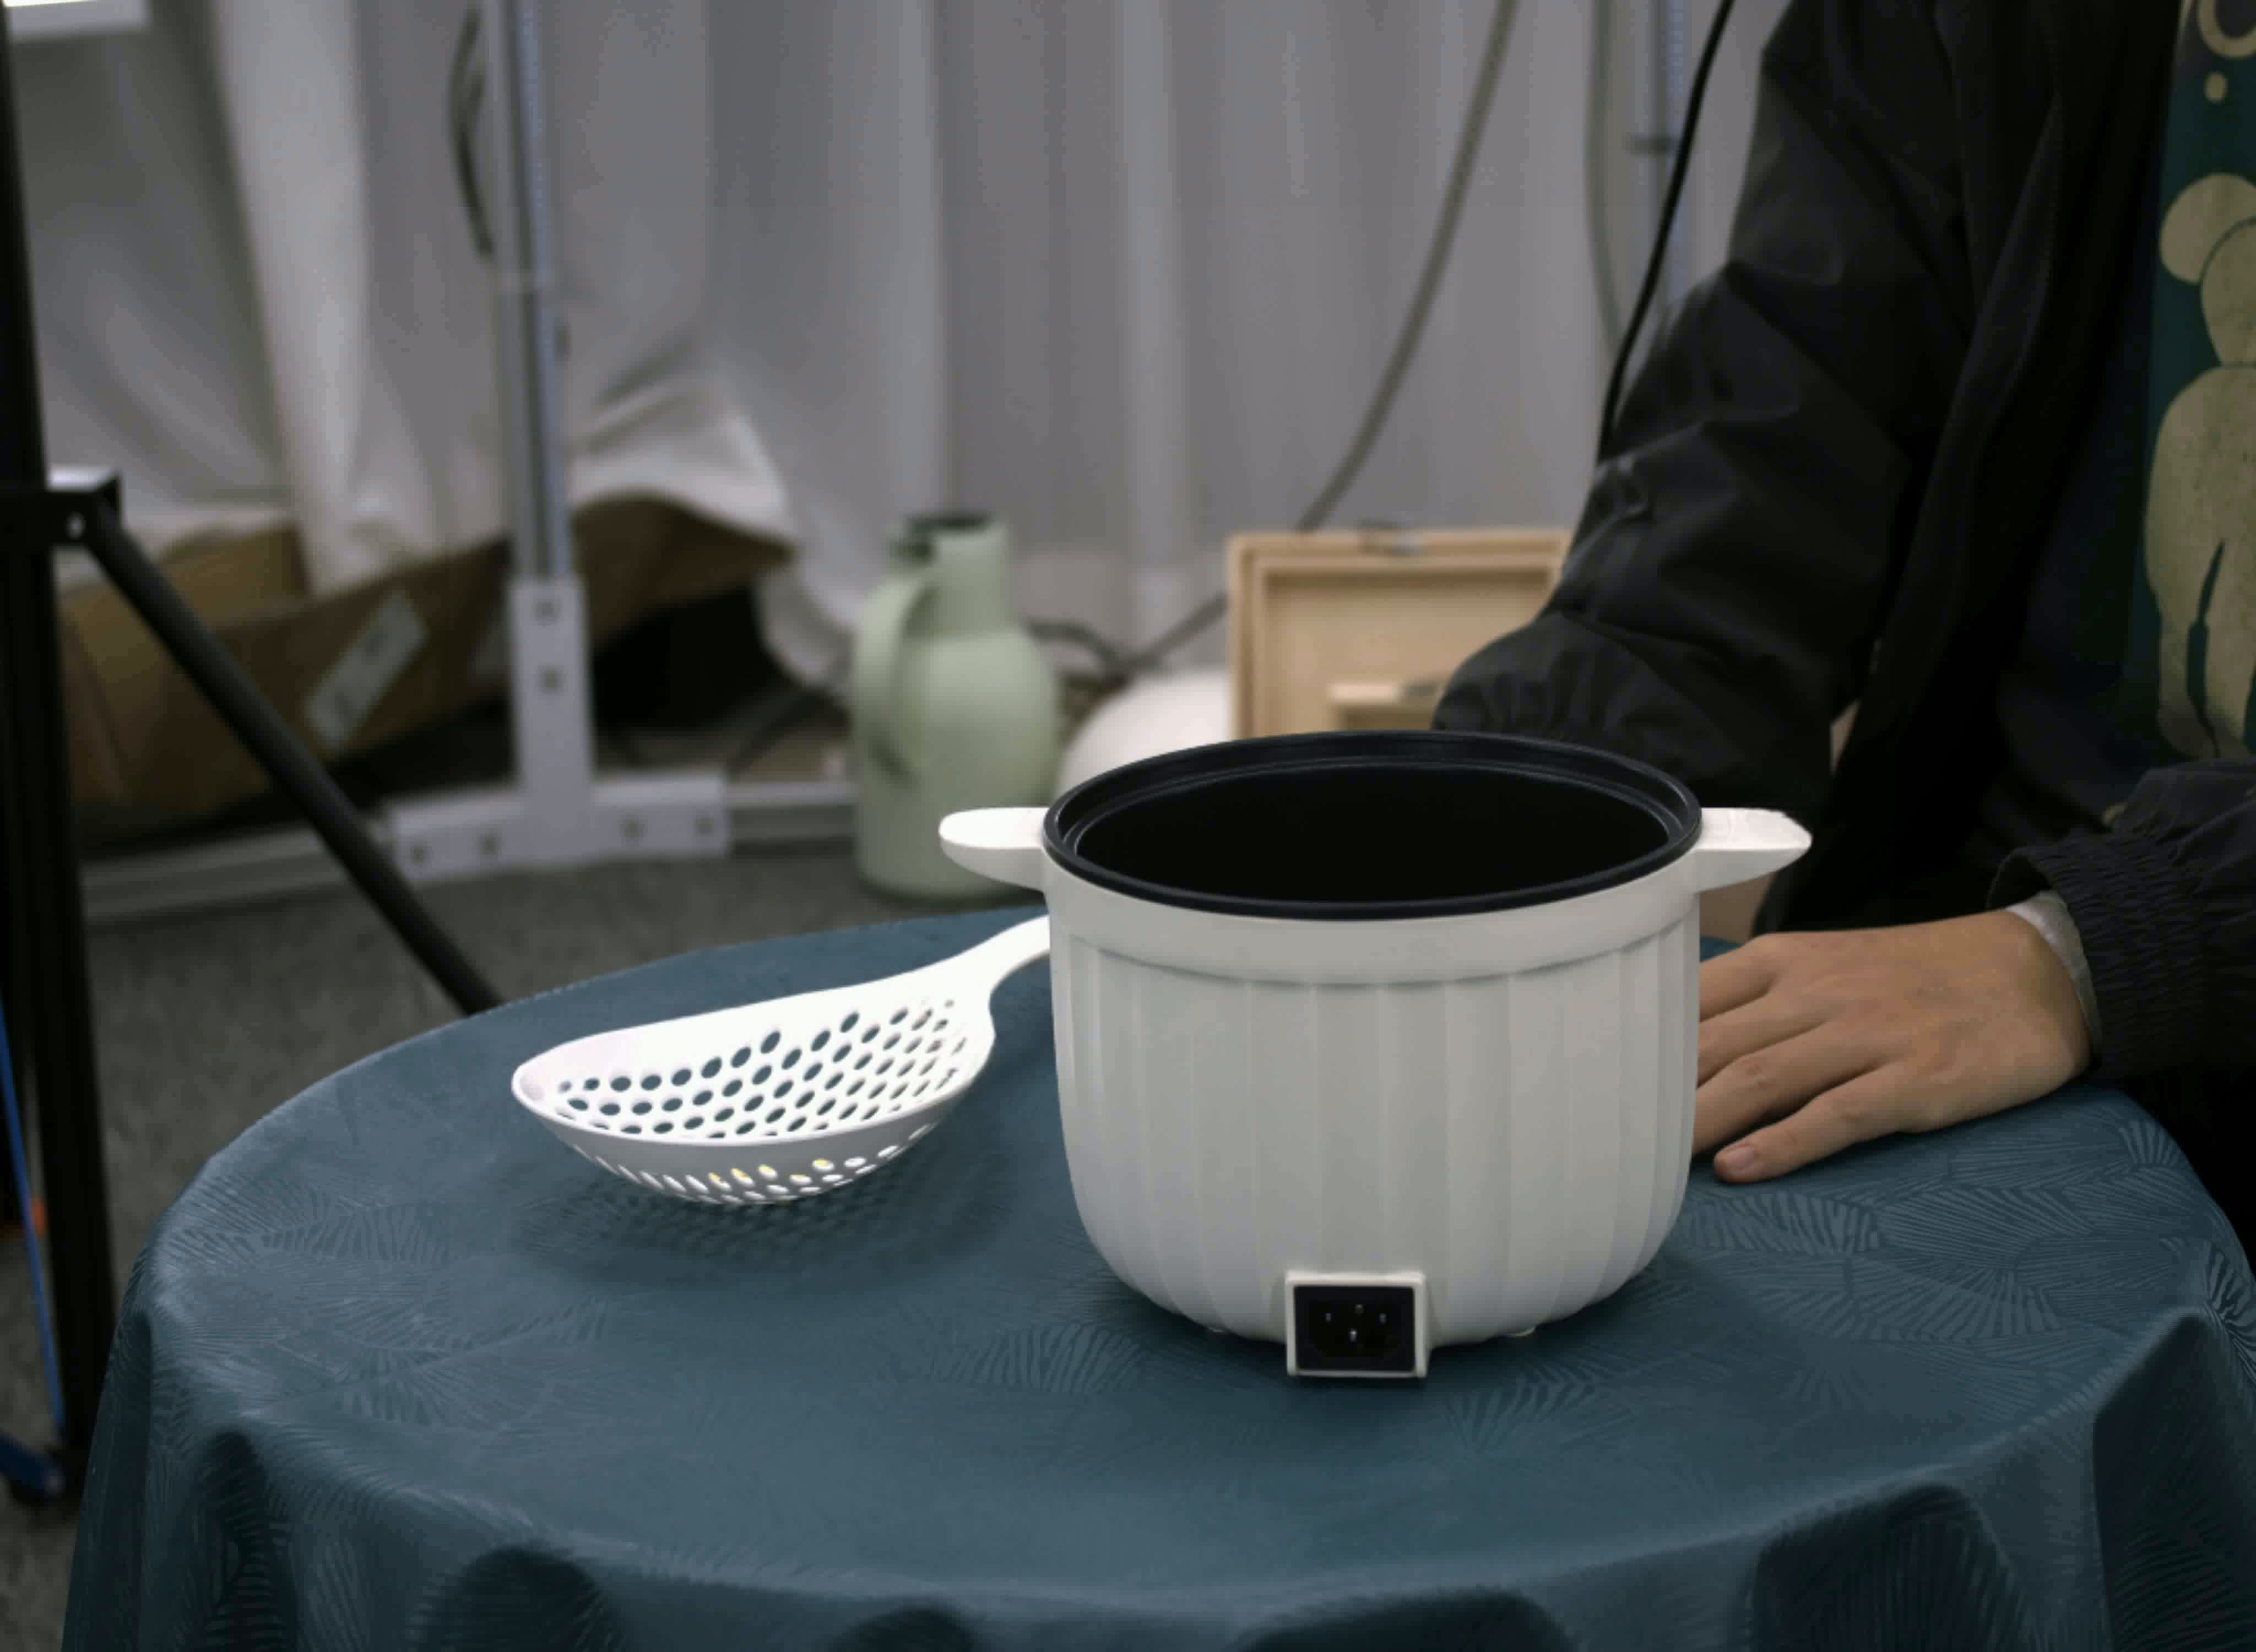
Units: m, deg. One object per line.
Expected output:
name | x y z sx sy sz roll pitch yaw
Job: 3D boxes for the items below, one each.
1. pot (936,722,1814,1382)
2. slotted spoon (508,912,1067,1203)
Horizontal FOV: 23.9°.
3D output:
pot | 0.067 0.059 1.471 0.241 0.142 0.190 1 19 8
slotted spoon | -0.061 0.059 1.662 0.139 0.050 0.342 5 18 28
